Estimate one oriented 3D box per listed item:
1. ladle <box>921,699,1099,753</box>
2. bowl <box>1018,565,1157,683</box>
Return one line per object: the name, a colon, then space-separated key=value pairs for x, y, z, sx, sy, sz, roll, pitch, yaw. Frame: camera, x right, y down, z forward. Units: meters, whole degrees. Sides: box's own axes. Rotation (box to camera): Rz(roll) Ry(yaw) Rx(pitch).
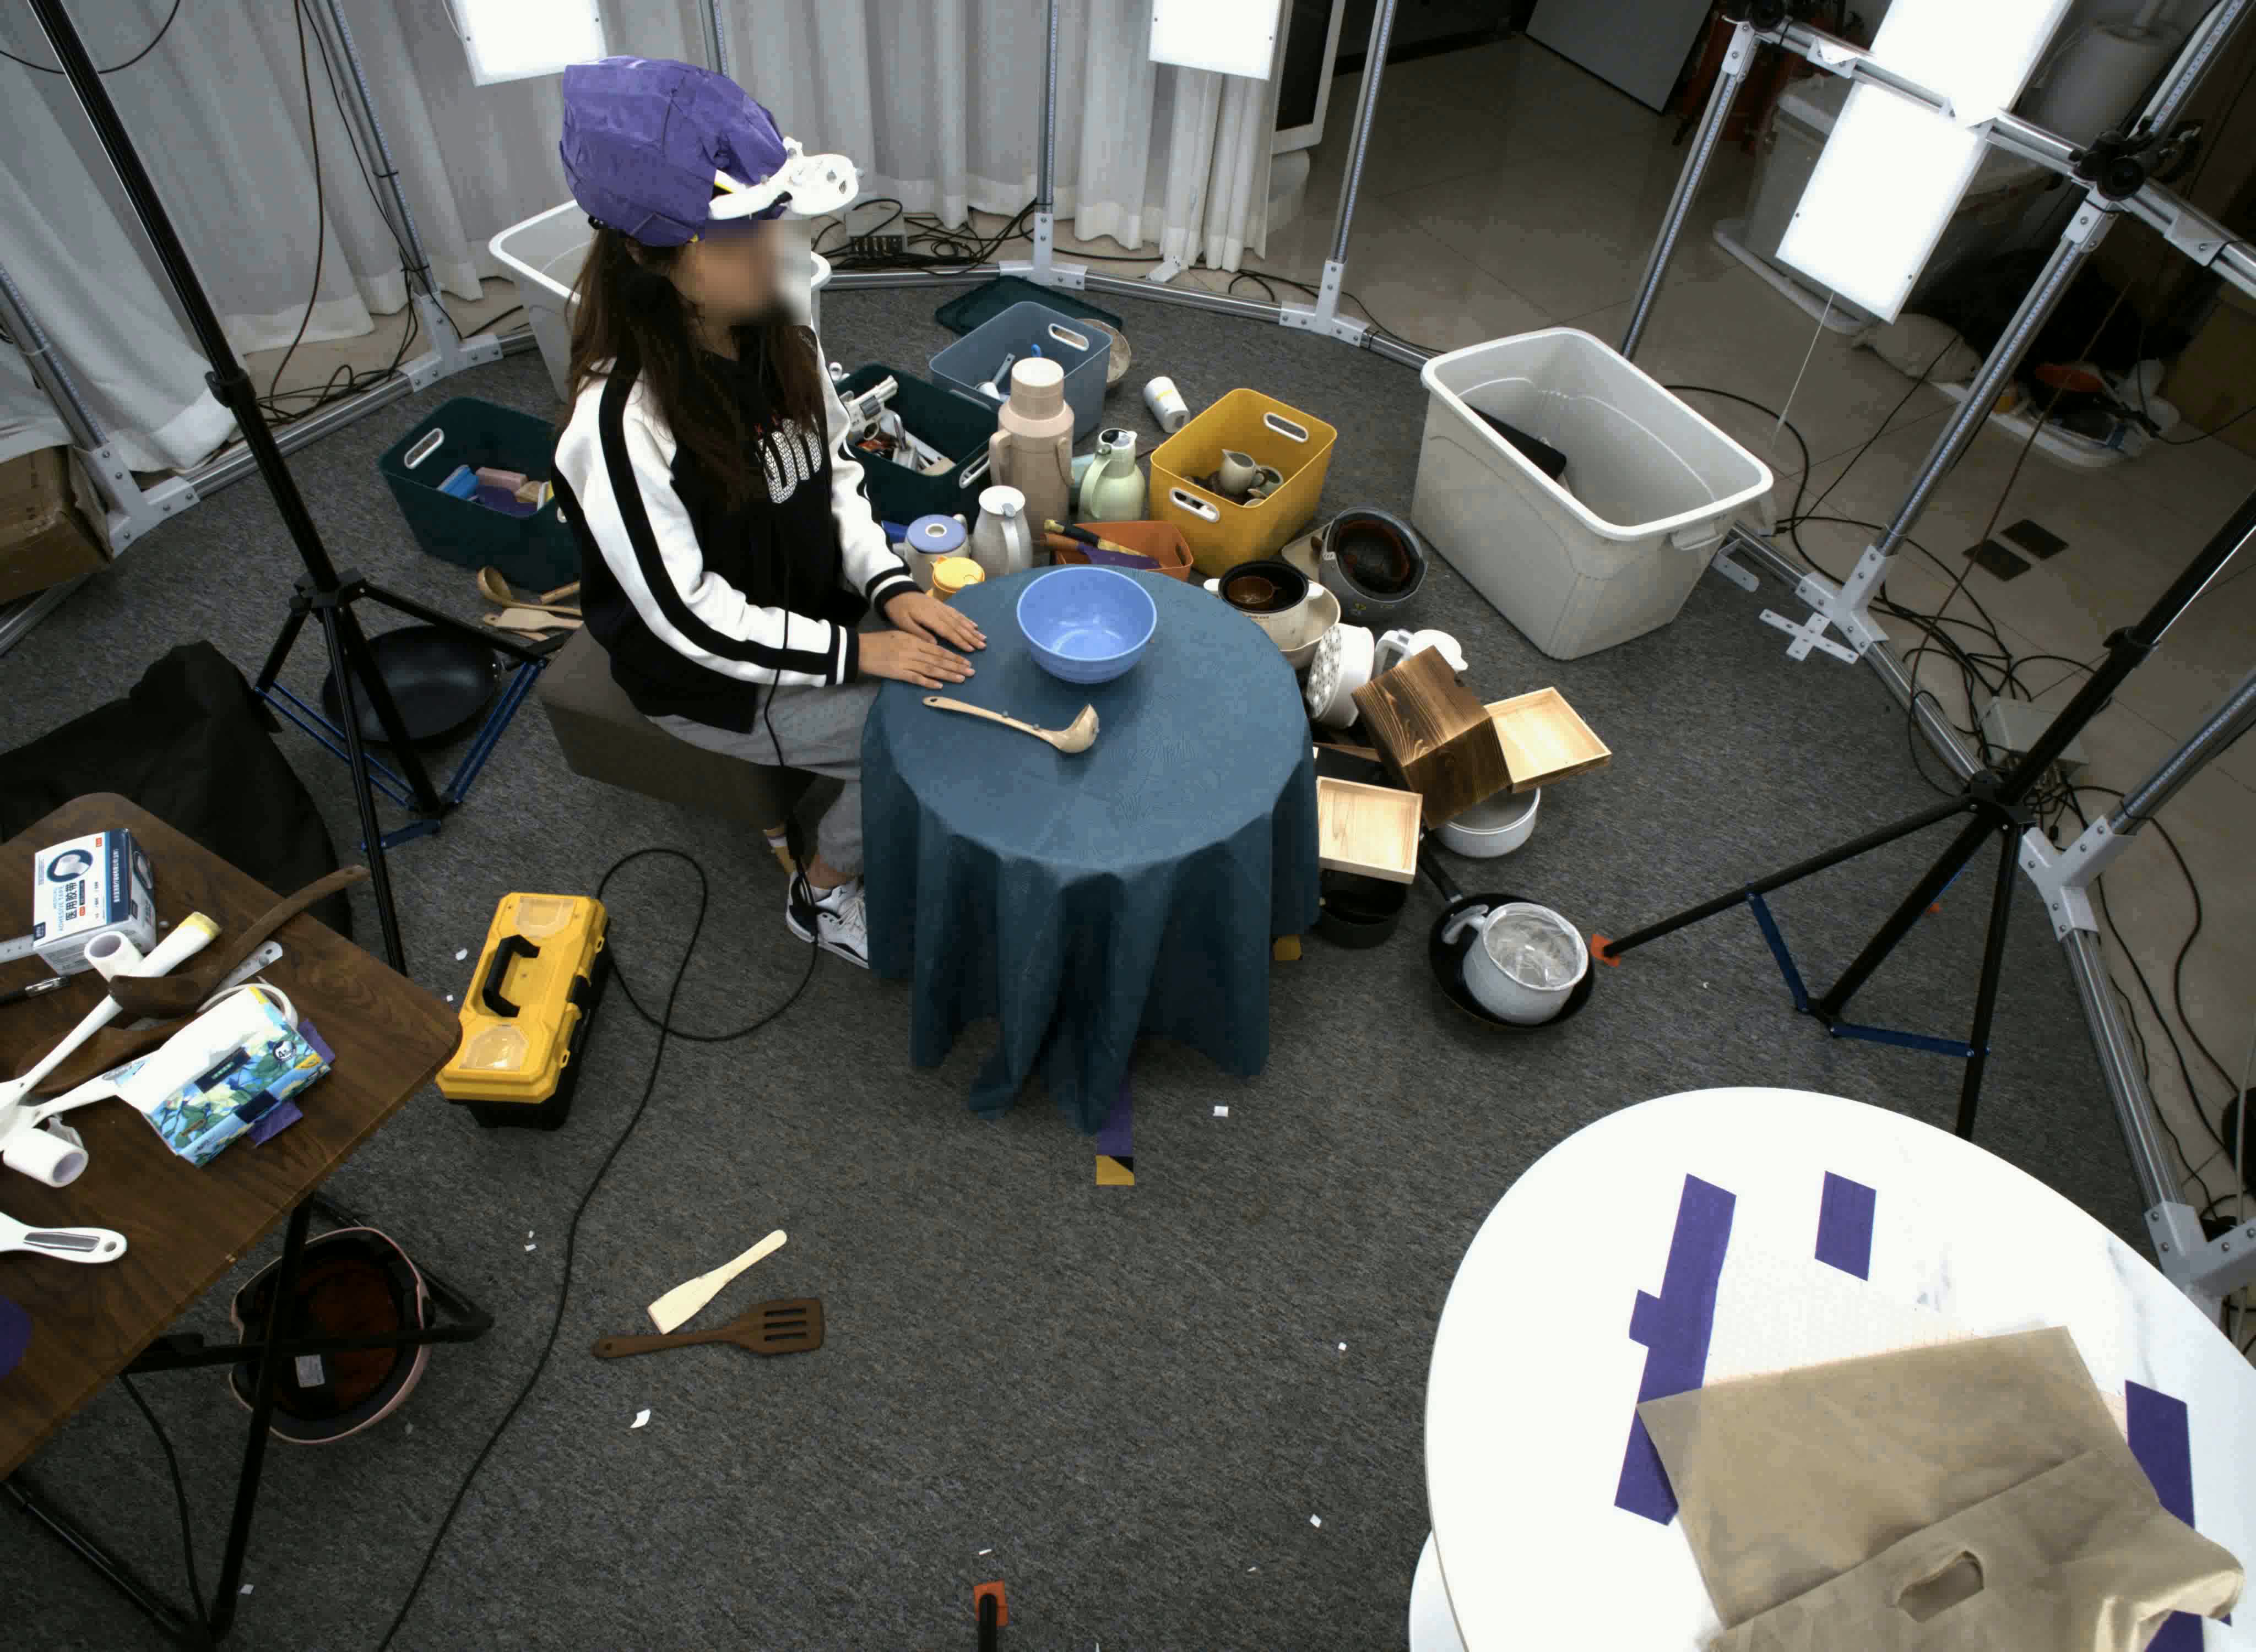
ladle: x=-0.165 y=-0.161 z=1.751 sx=0.255 sy=0.071 sz=0.073 roll=16 pitch=49 yaw=10
bowl: x=-0.061 y=-0.273 z=1.839 sx=0.196 sy=0.093 sz=0.201 roll=4 pitch=49 yaw=-5
